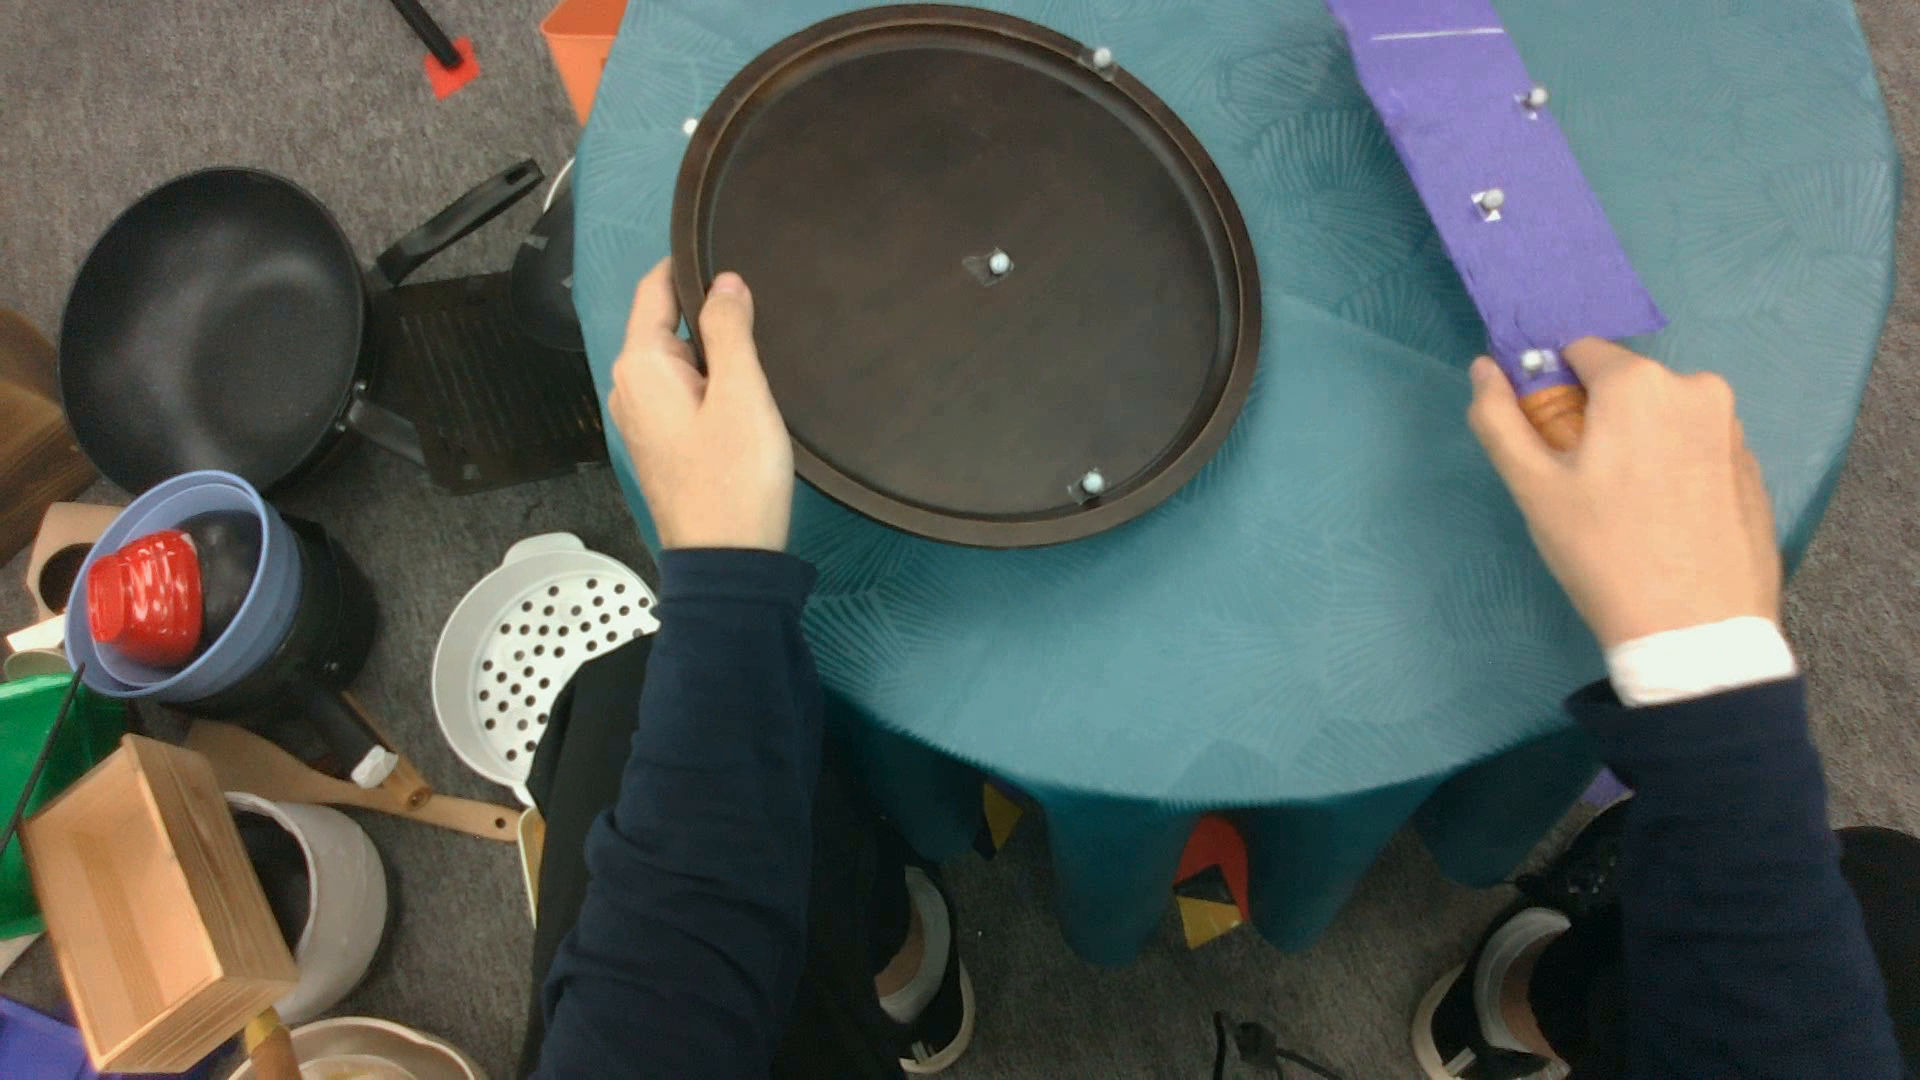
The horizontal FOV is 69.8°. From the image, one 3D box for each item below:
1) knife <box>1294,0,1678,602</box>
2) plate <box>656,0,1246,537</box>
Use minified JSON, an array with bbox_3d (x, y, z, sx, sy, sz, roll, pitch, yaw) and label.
[{"bbox_3d":[0.222,-0.131,0.559,0.104,0.032,0.316,-15,74,-23],"label":"knife"},{"bbox_3d":[0.001,-0.119,0.581,0.255,0.029,0.255,6,68,-14],"label":"plate"}]
